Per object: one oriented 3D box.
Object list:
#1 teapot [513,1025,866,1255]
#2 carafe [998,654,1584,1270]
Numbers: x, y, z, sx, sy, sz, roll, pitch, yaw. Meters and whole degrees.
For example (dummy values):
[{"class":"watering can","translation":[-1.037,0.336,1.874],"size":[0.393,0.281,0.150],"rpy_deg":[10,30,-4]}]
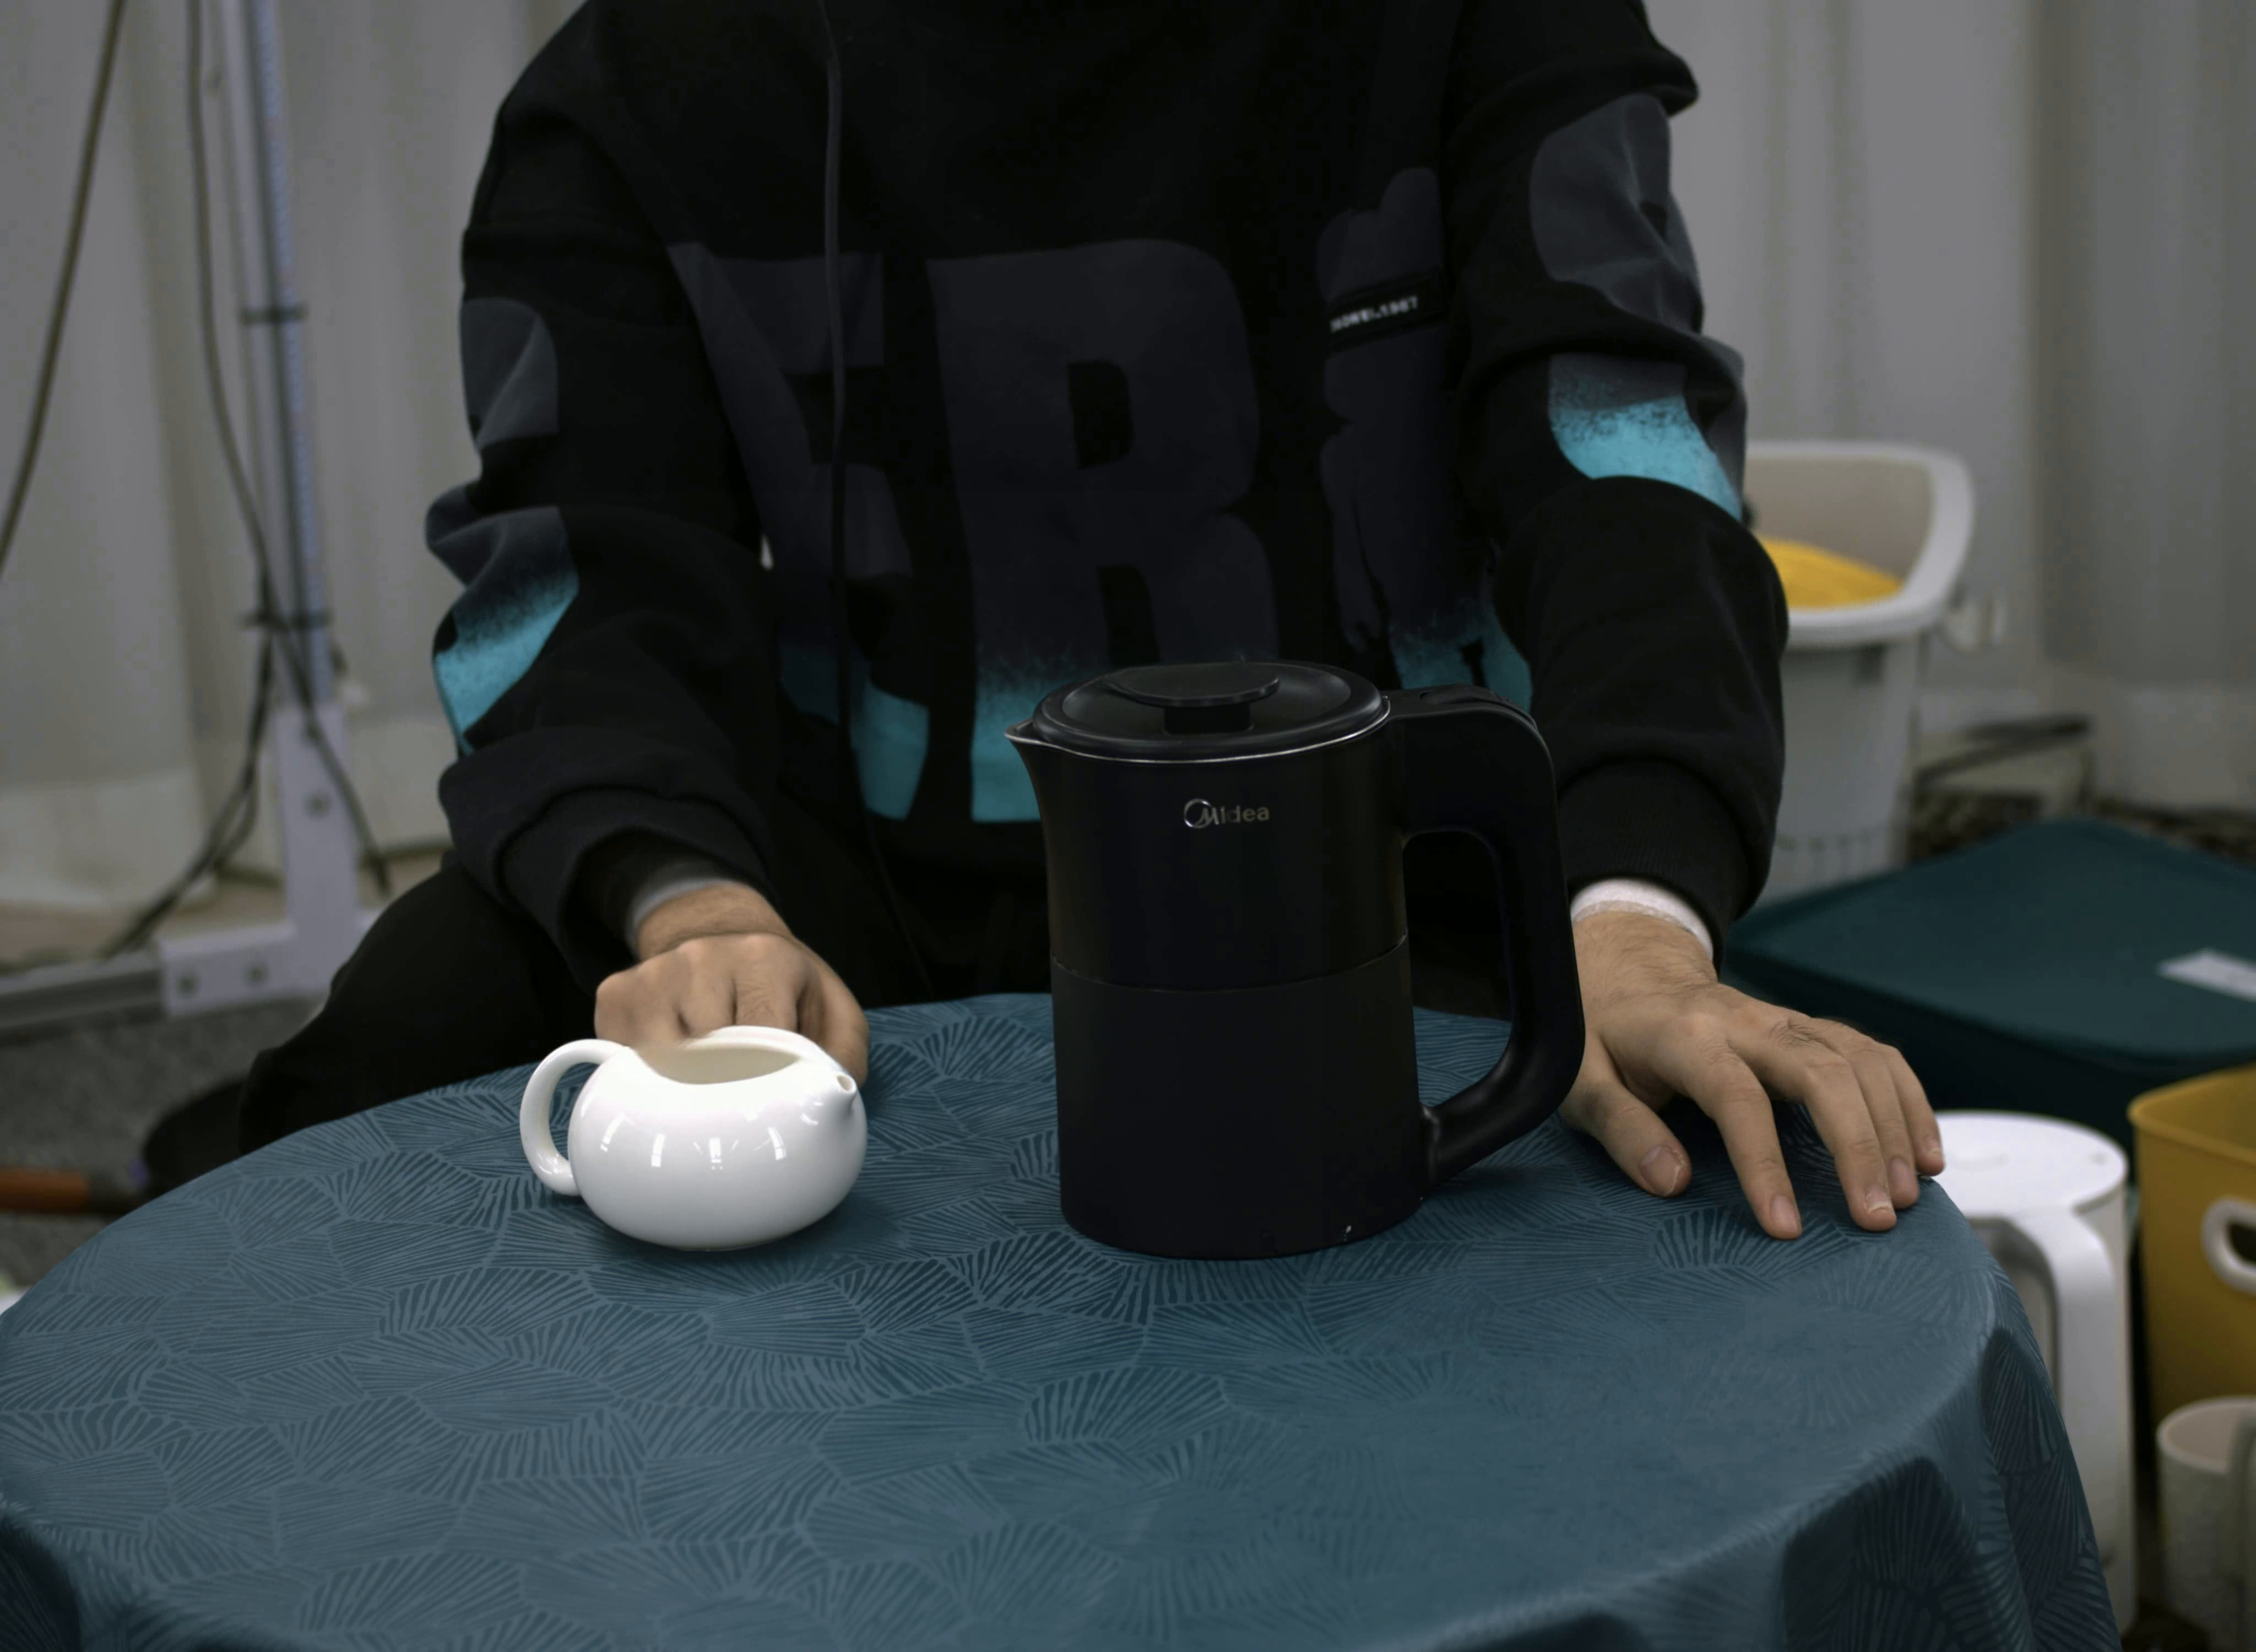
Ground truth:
[{"class":"teapot","translation":[-0.138,0.097,1.704],"size":[0.127,0.056,0.094],"rpy_deg":[3,19,24]},{"class":"carafe","translation":[0.052,0.033,1.682],"size":[0.171,0.173,0.115],"rpy_deg":[-7,13,-6]}]
